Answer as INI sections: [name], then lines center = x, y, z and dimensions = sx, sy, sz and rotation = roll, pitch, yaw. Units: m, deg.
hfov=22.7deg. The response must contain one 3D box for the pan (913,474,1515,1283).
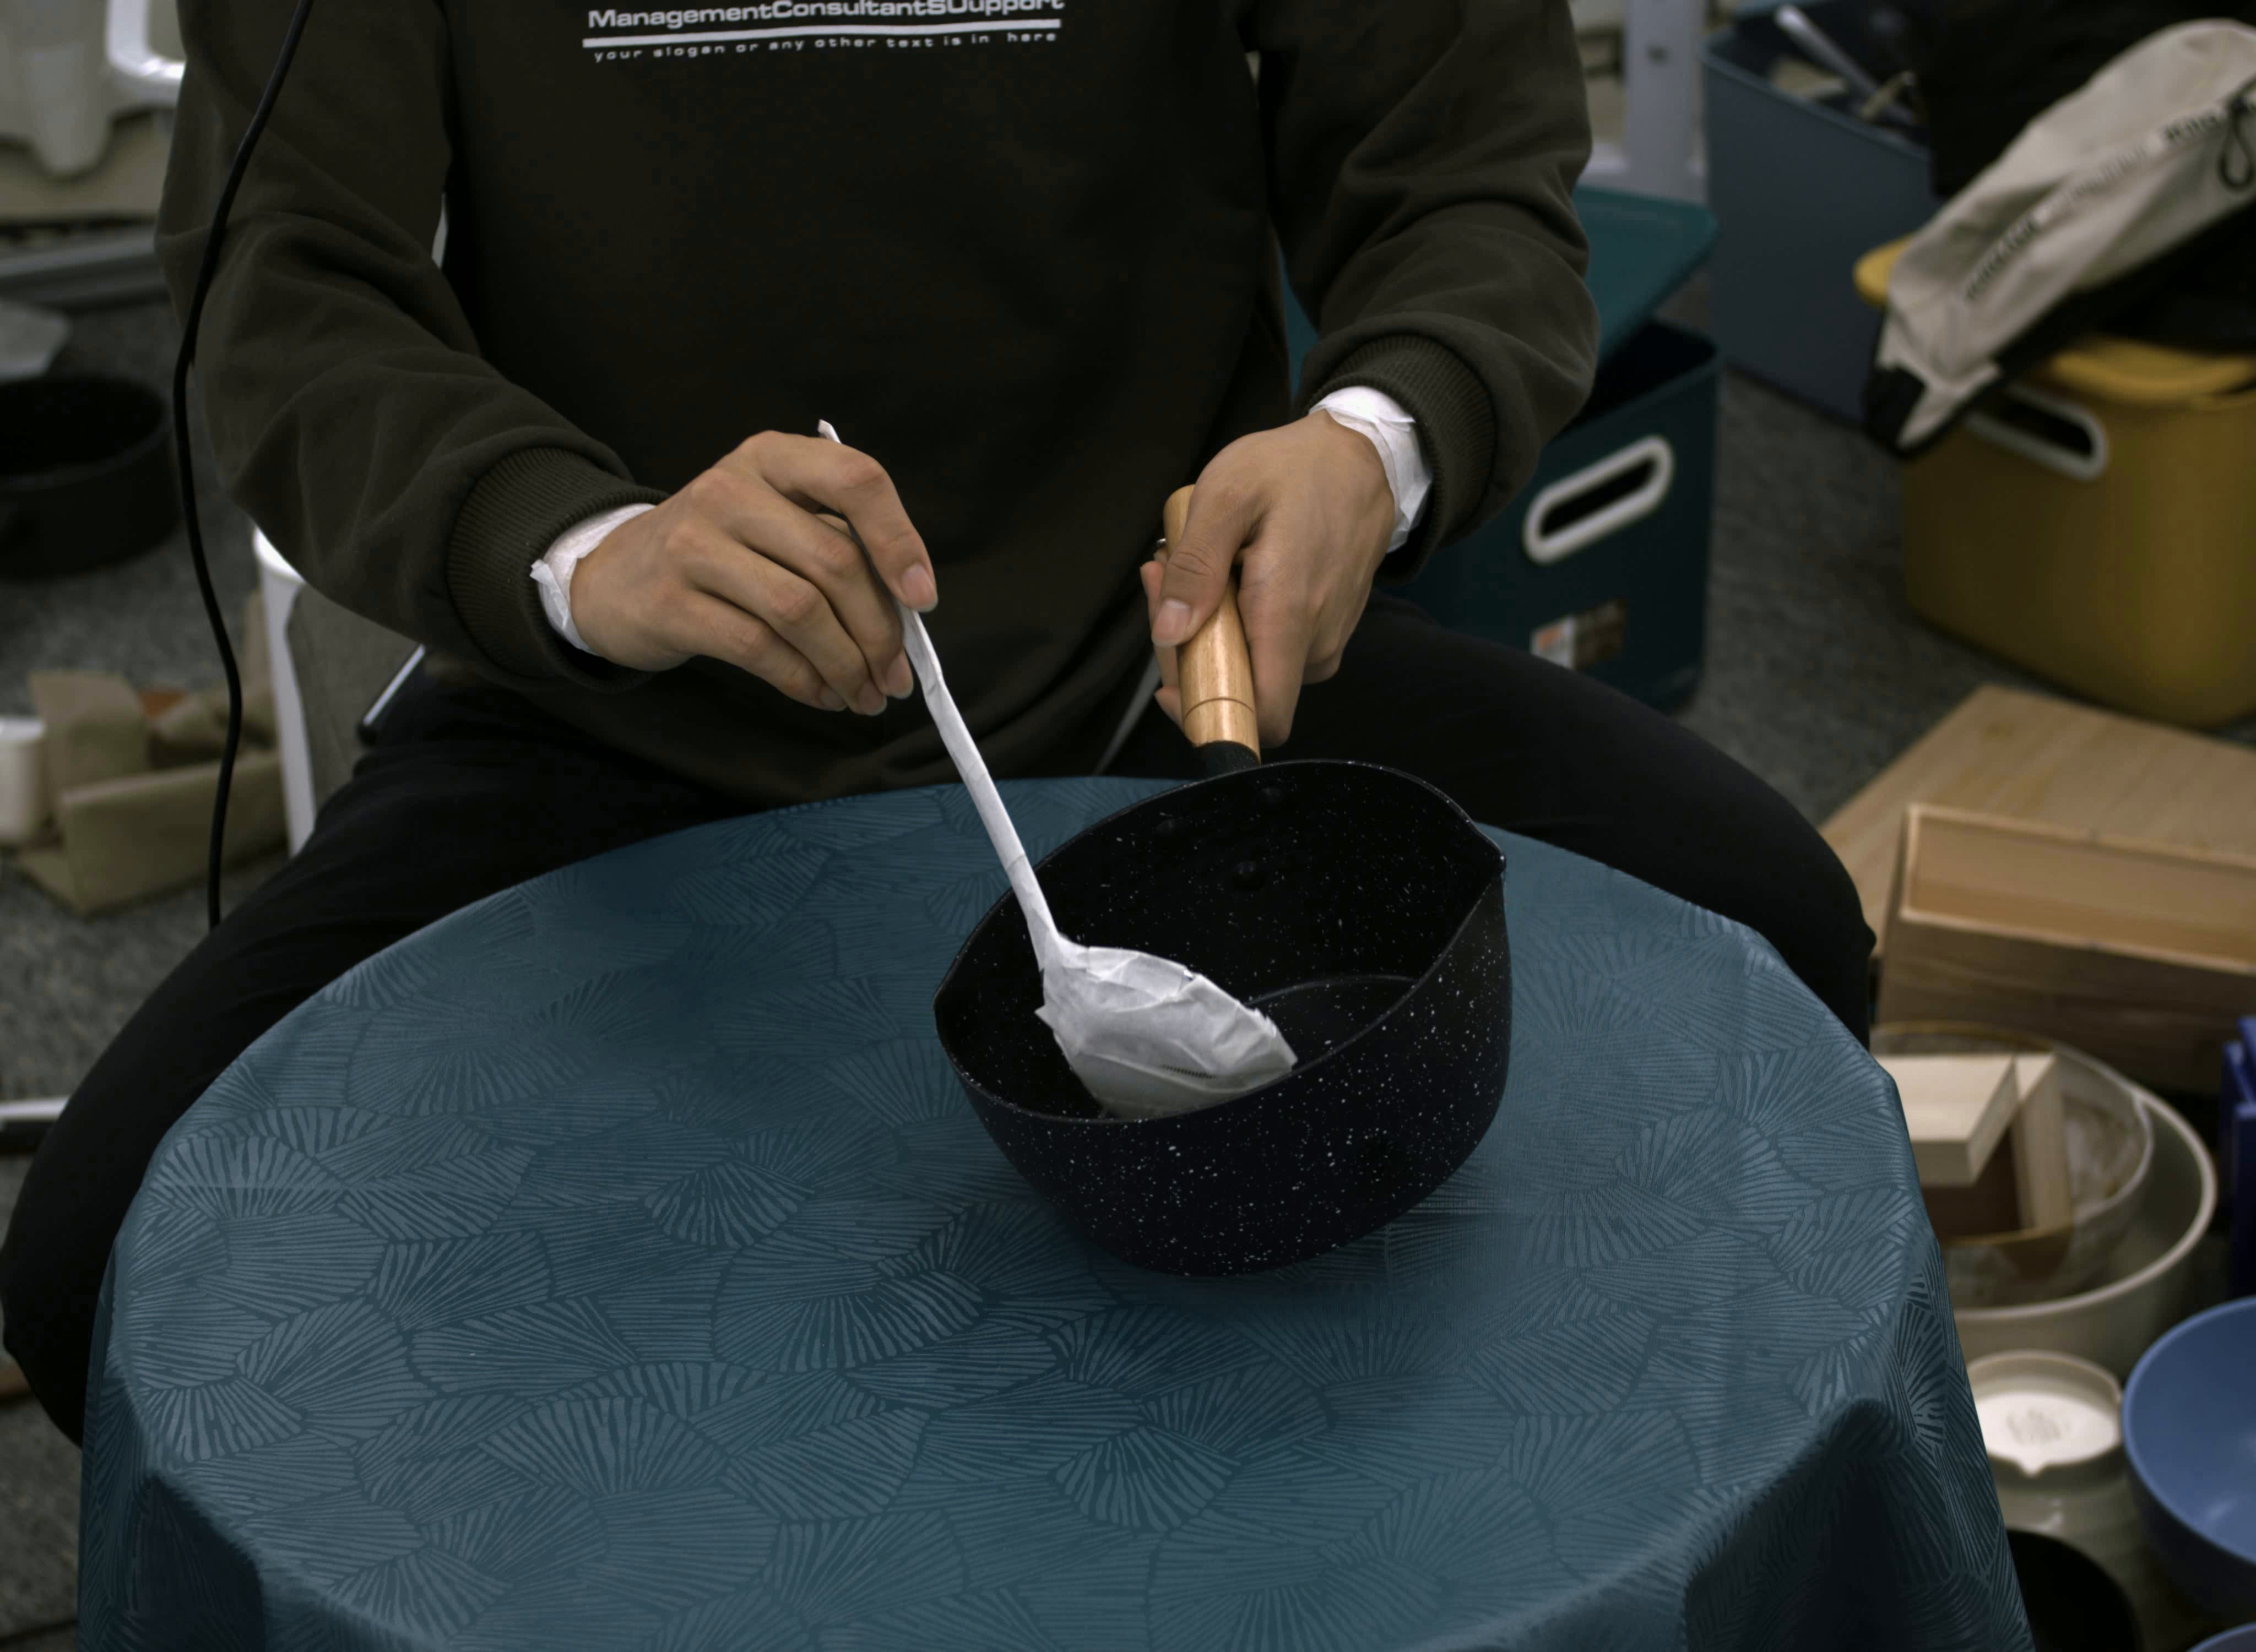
[pan]
center = 0.035, 0.014, 1.893
dimensions = 0.206, 0.107, 0.349
rotation = -17, 33, 11

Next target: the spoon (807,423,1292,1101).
[spoon]
center = -0.028, -0.015, 1.825
dimensions = 0.060, 0.099, 0.280
rotation = -13, 67, -30
